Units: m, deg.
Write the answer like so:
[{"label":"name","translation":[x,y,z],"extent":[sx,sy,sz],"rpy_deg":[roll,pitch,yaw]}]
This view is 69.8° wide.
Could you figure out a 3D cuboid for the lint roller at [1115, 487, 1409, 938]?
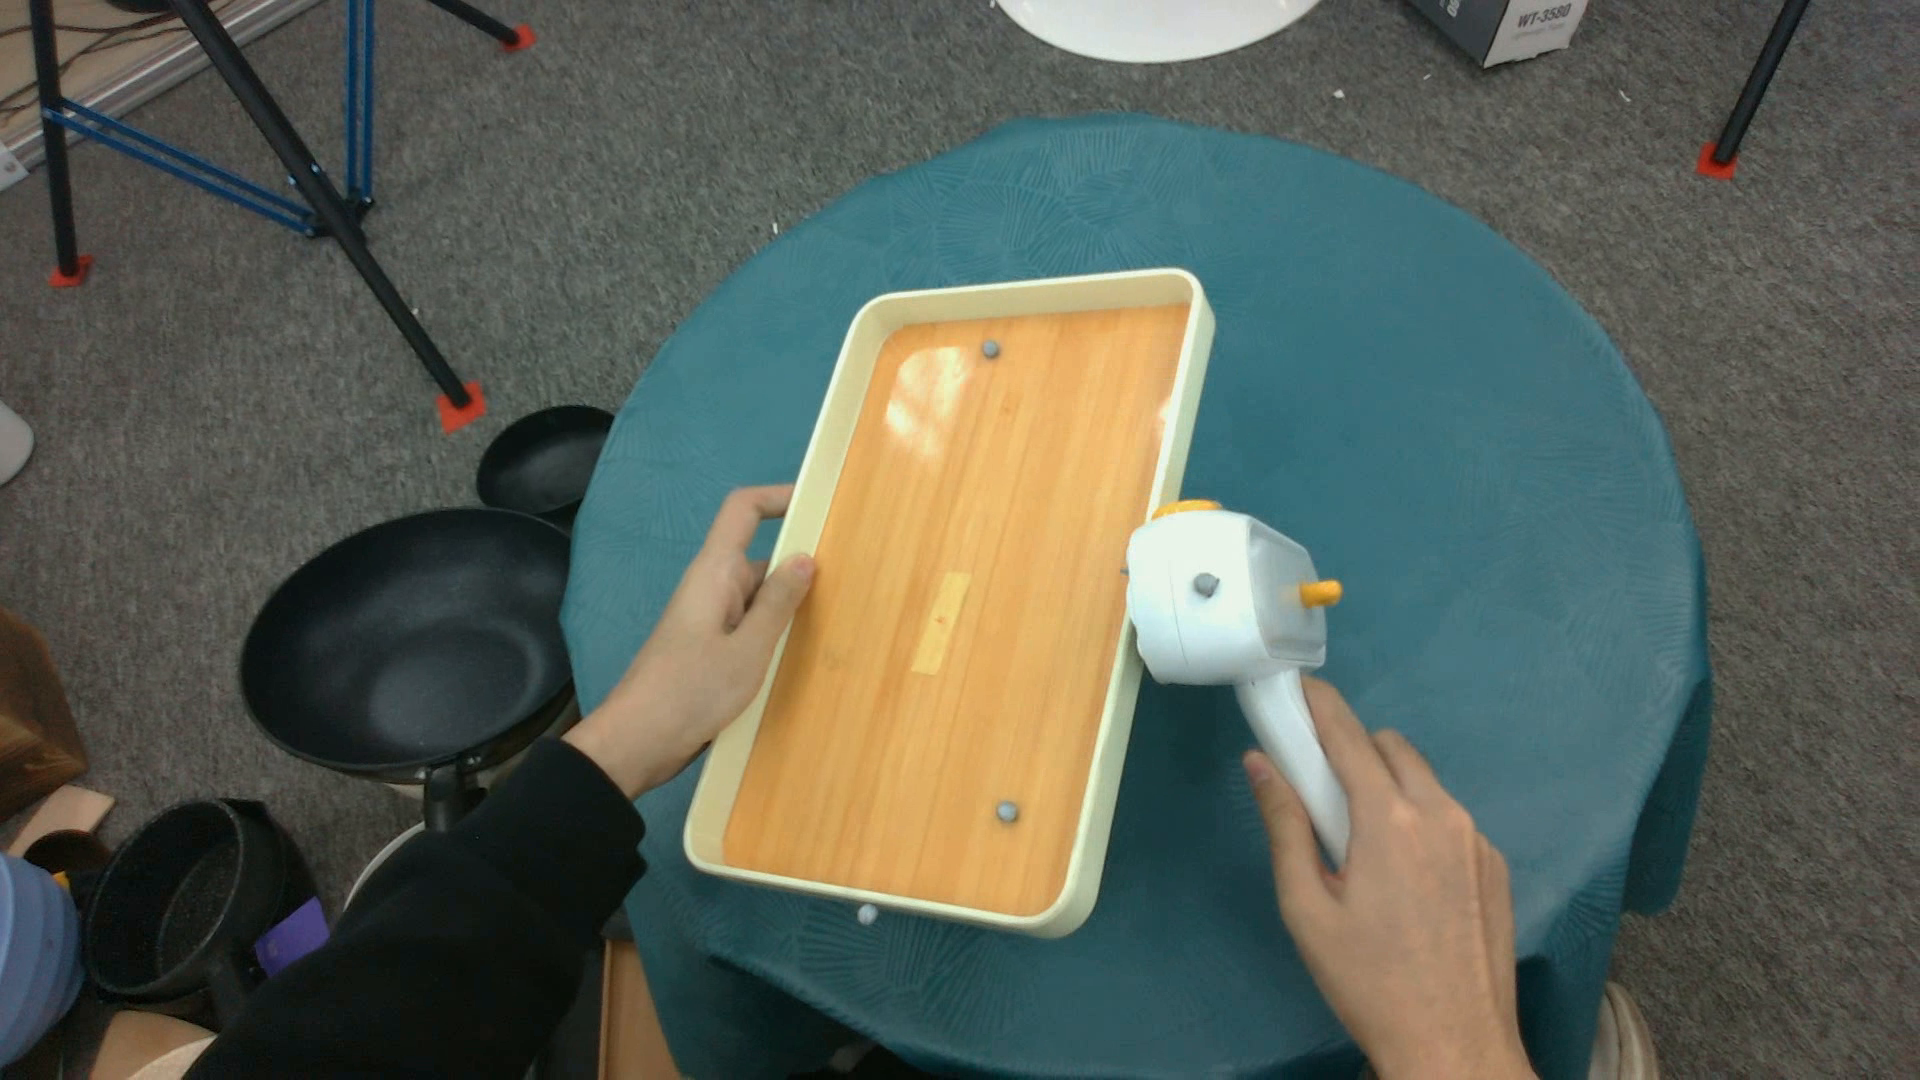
[{"label":"lint roller","translation":[0.130,0.072,0.569],"extent":[0.074,0.193,0.192],"rpy_deg":[-16,83,15]}]

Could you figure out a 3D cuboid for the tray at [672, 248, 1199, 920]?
[{"label":"tray","translation":[-0.008,0.006,0.613],"extent":[0.191,0.027,0.301],"rpy_deg":[1,64,30]}]
